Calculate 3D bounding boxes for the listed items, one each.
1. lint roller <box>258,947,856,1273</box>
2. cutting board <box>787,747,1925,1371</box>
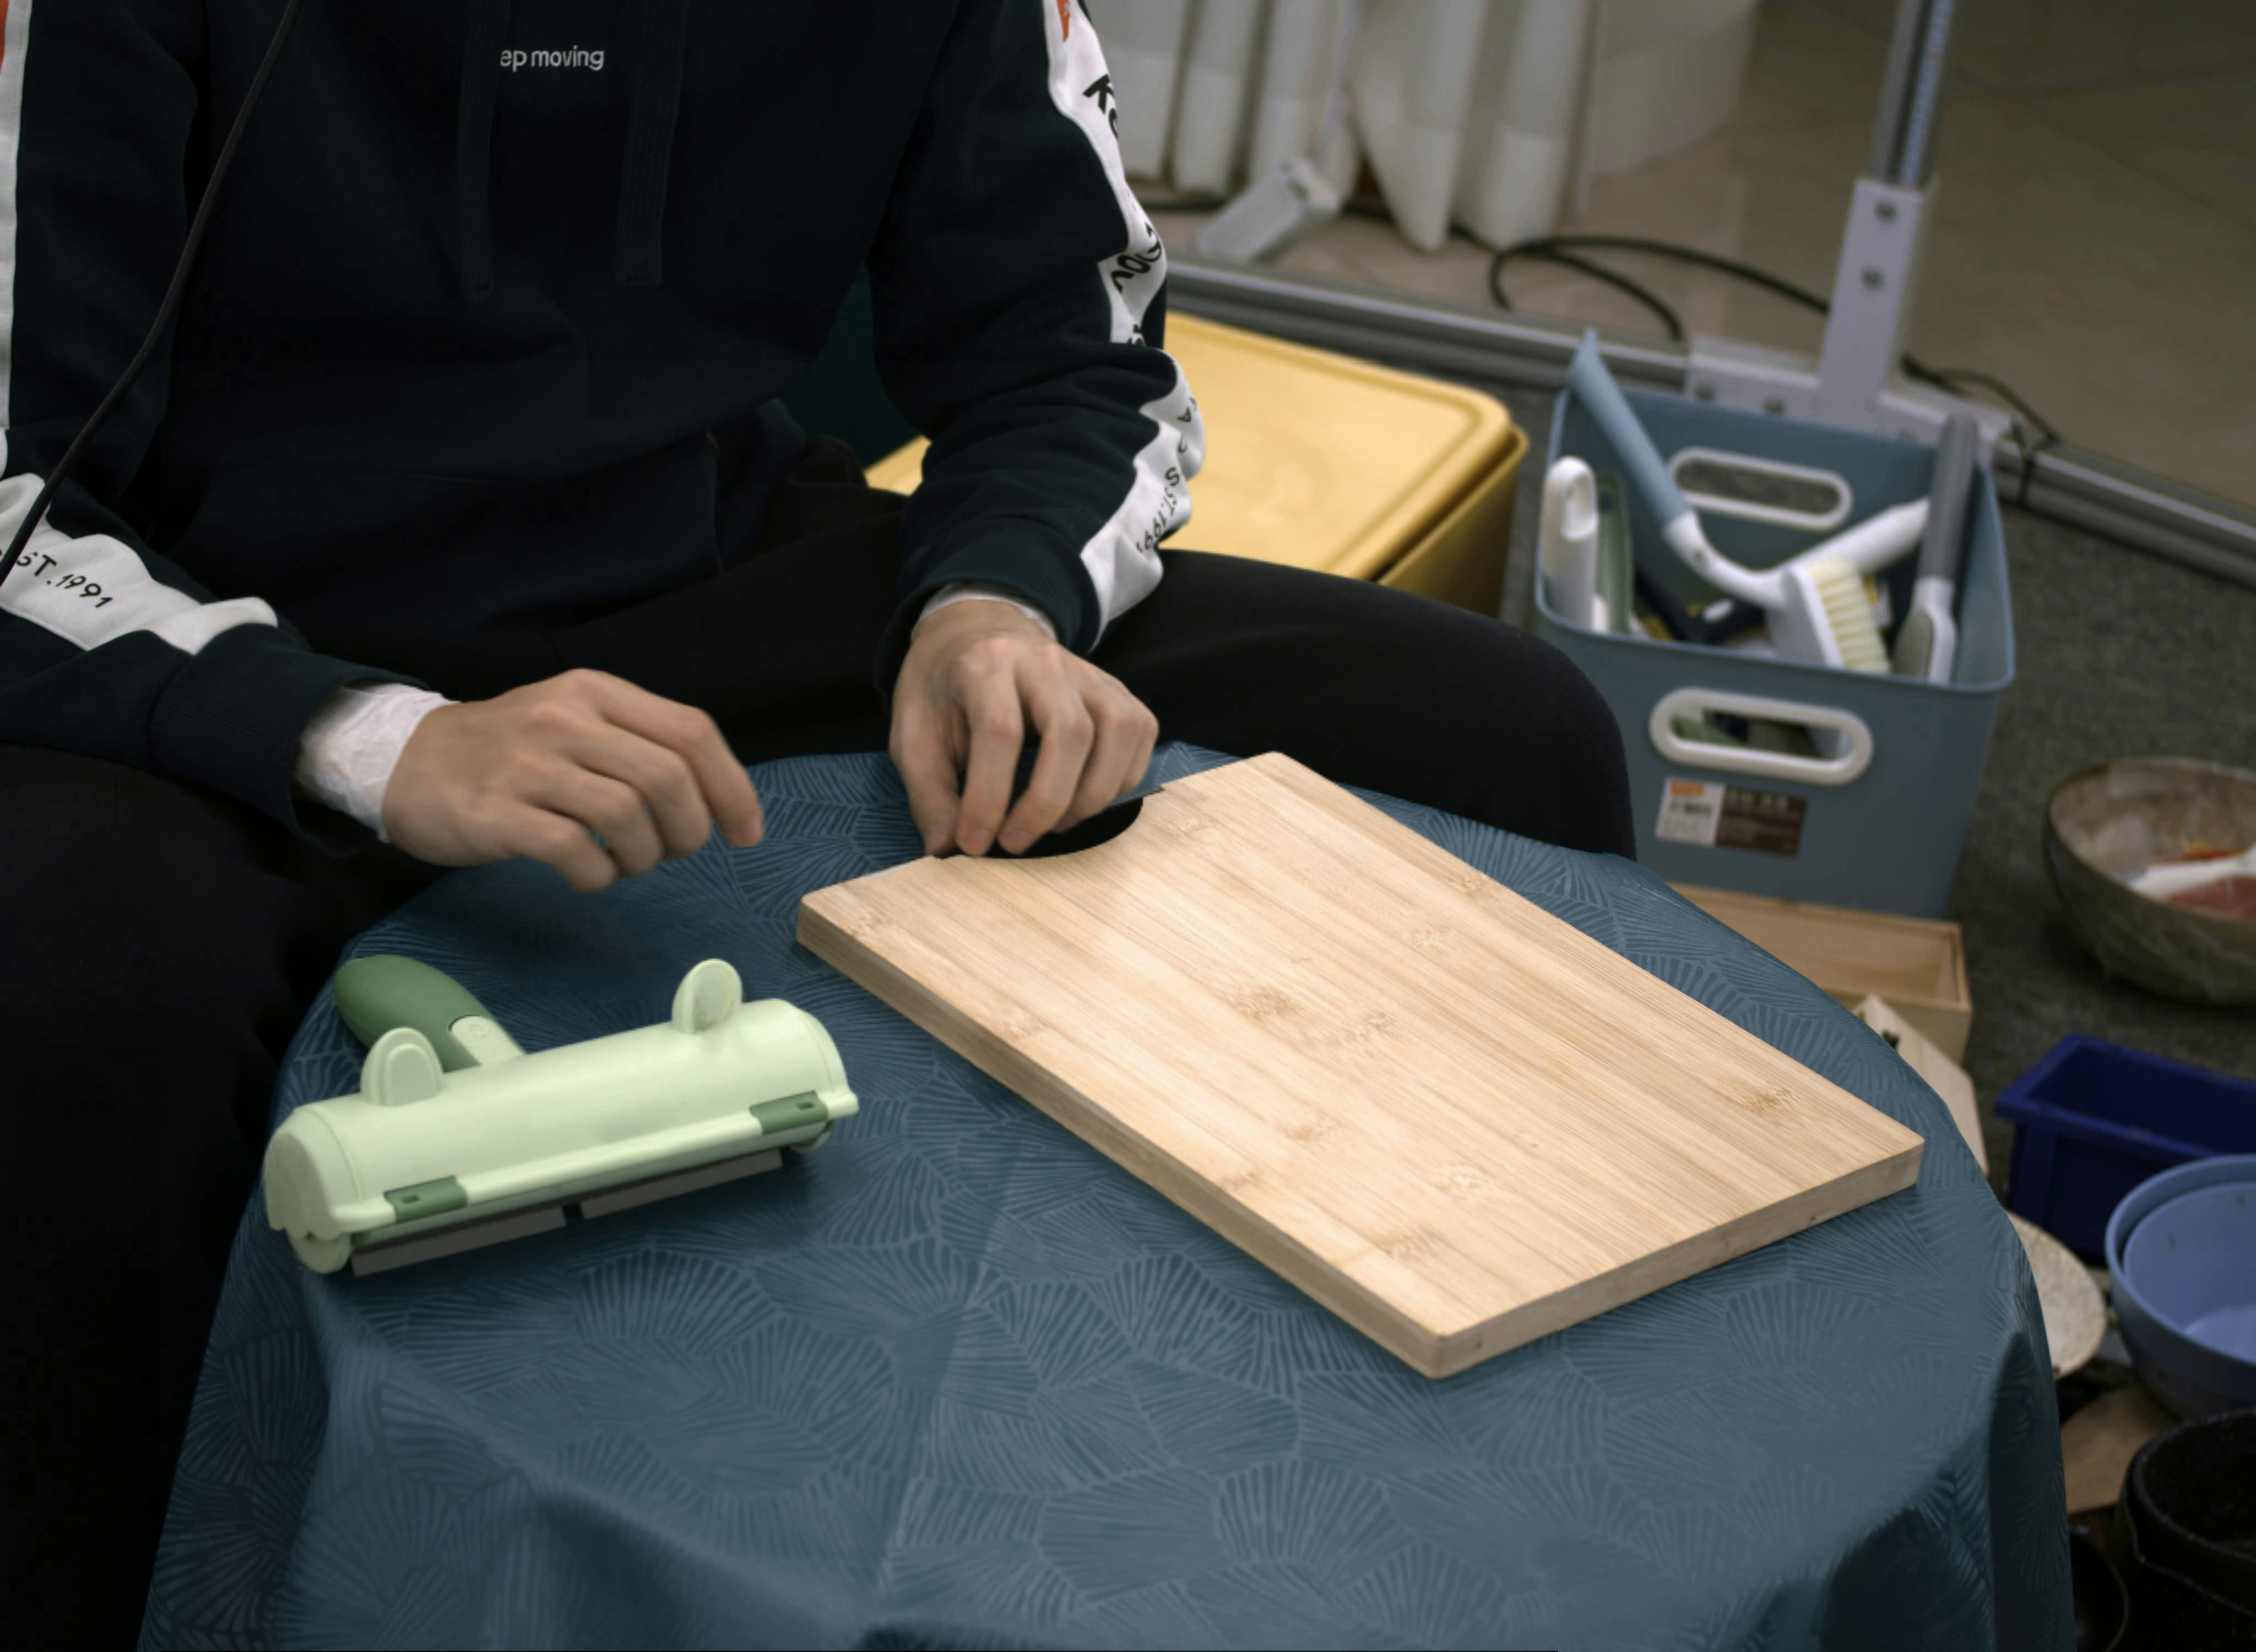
[{"bbox_3d":[-0.216,0.067,1.777,0.197,0.082,0.185,-12,36,-32],"label":"lint roller"},{"bbox_3d":[0.076,0.075,1.895,0.249,0.023,0.351,-17,35,-39],"label":"cutting board"}]
